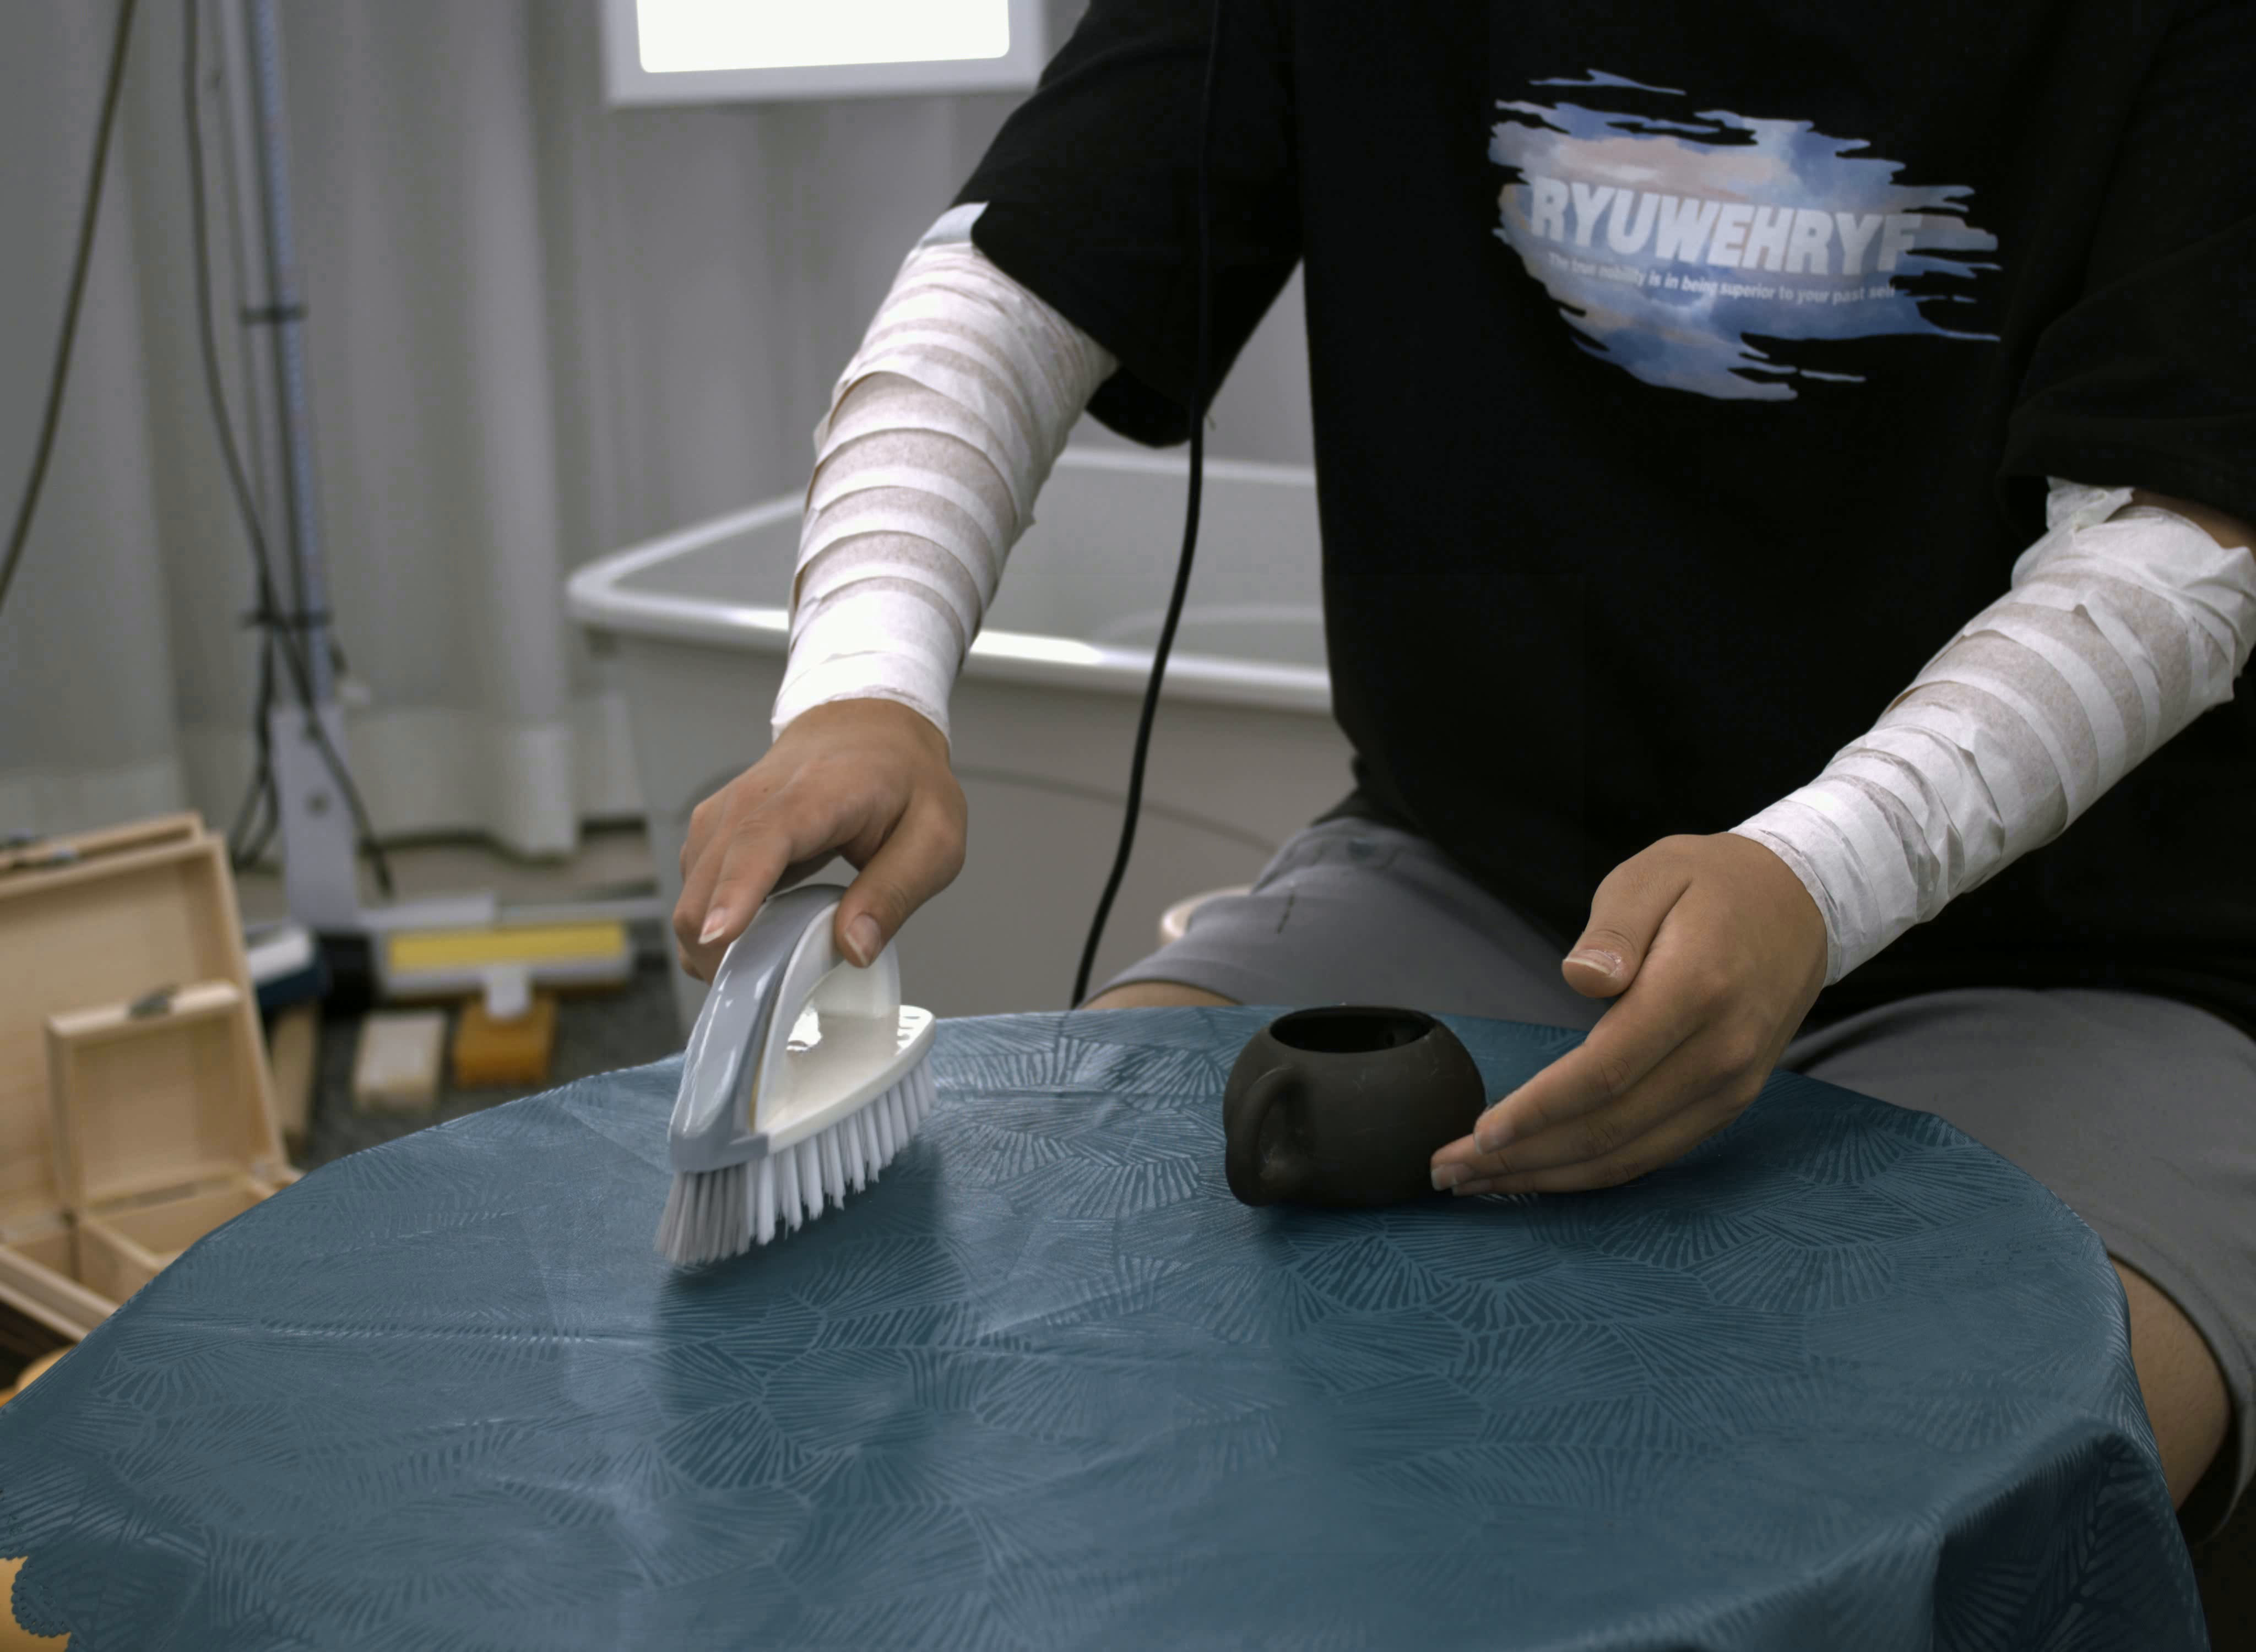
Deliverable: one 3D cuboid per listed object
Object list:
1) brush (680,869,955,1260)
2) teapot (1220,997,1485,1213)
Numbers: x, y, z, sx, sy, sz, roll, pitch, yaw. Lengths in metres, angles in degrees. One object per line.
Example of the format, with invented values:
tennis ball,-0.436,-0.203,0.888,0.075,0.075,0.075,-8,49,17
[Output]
brush,-0.105,0.069,1.705,0.061,0.094,0.176,0,14,17
teapot,0.063,0.090,1.698,0.083,0.053,0.114,7,16,35
